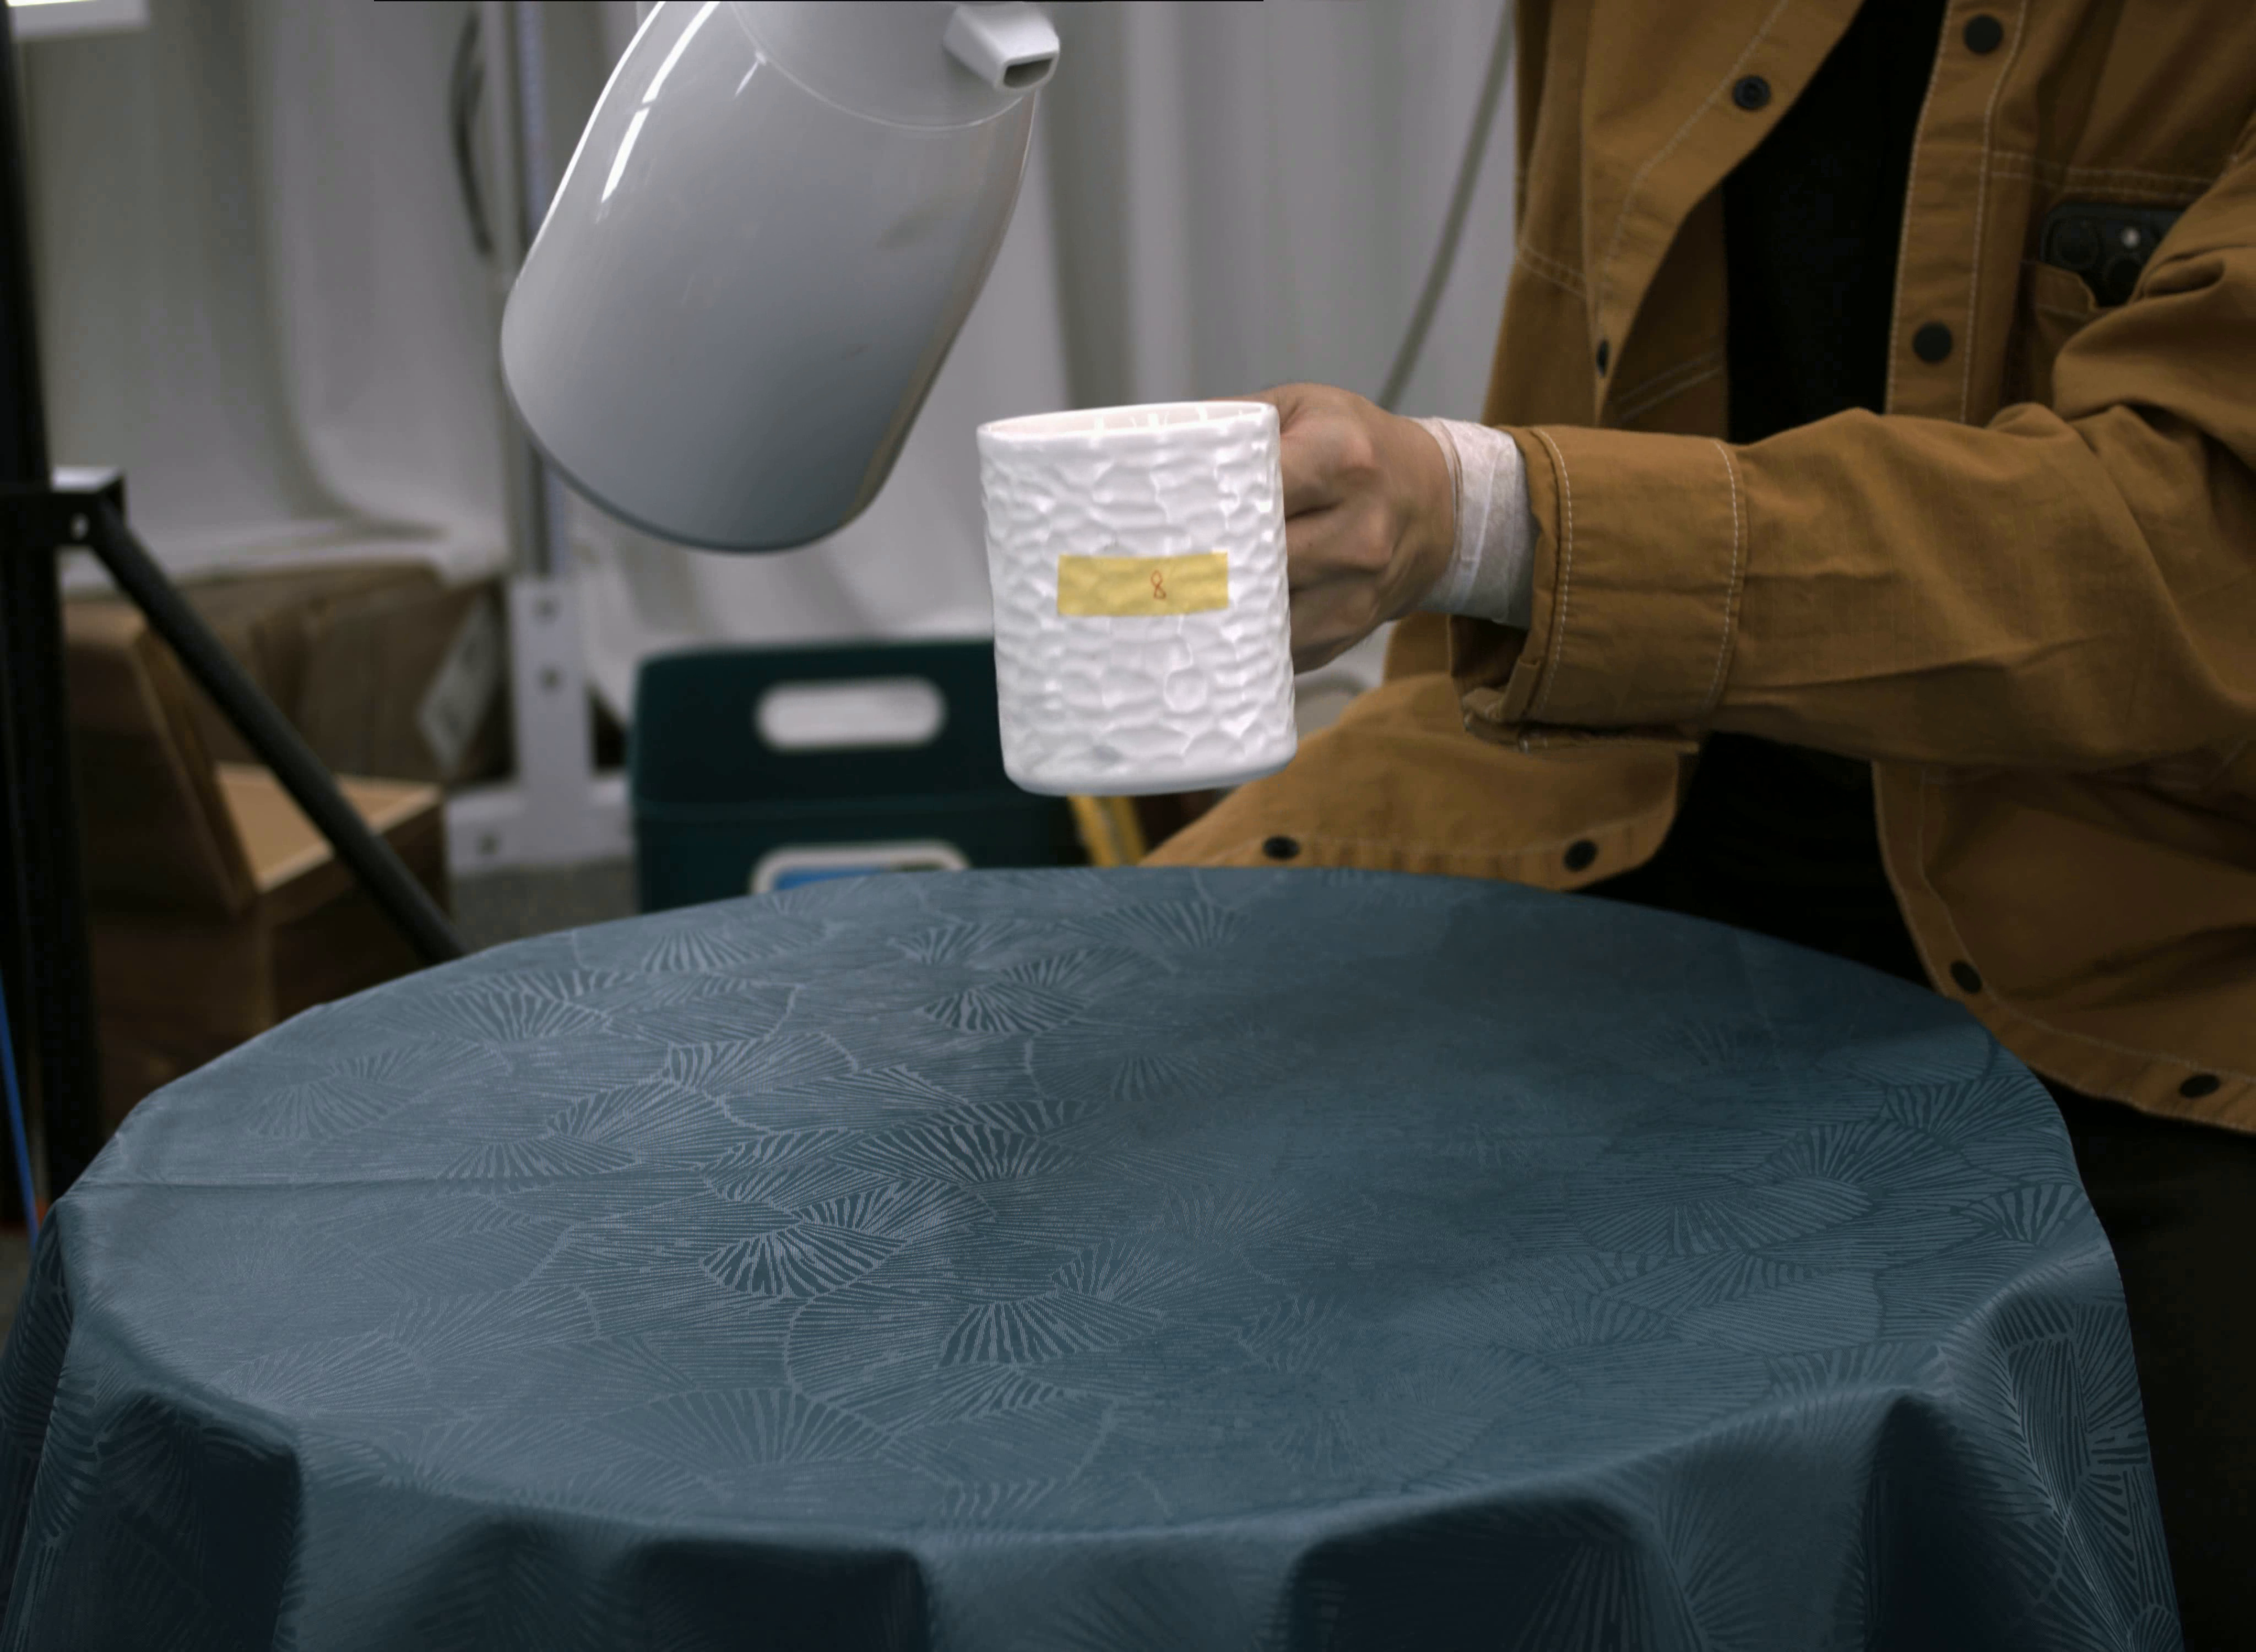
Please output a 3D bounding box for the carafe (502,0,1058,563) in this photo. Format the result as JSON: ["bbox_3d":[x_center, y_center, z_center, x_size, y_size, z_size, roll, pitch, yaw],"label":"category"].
[{"bbox_3d":[-0.103,-0.220,1.606,0.129,0.250,0.170,-16,62,-33],"label":"carafe"}]

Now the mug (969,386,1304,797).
[{"bbox_3d":[0.008,-0.068,1.496,0.086,0.102,0.117,-3,10,21],"label":"mug"}]
